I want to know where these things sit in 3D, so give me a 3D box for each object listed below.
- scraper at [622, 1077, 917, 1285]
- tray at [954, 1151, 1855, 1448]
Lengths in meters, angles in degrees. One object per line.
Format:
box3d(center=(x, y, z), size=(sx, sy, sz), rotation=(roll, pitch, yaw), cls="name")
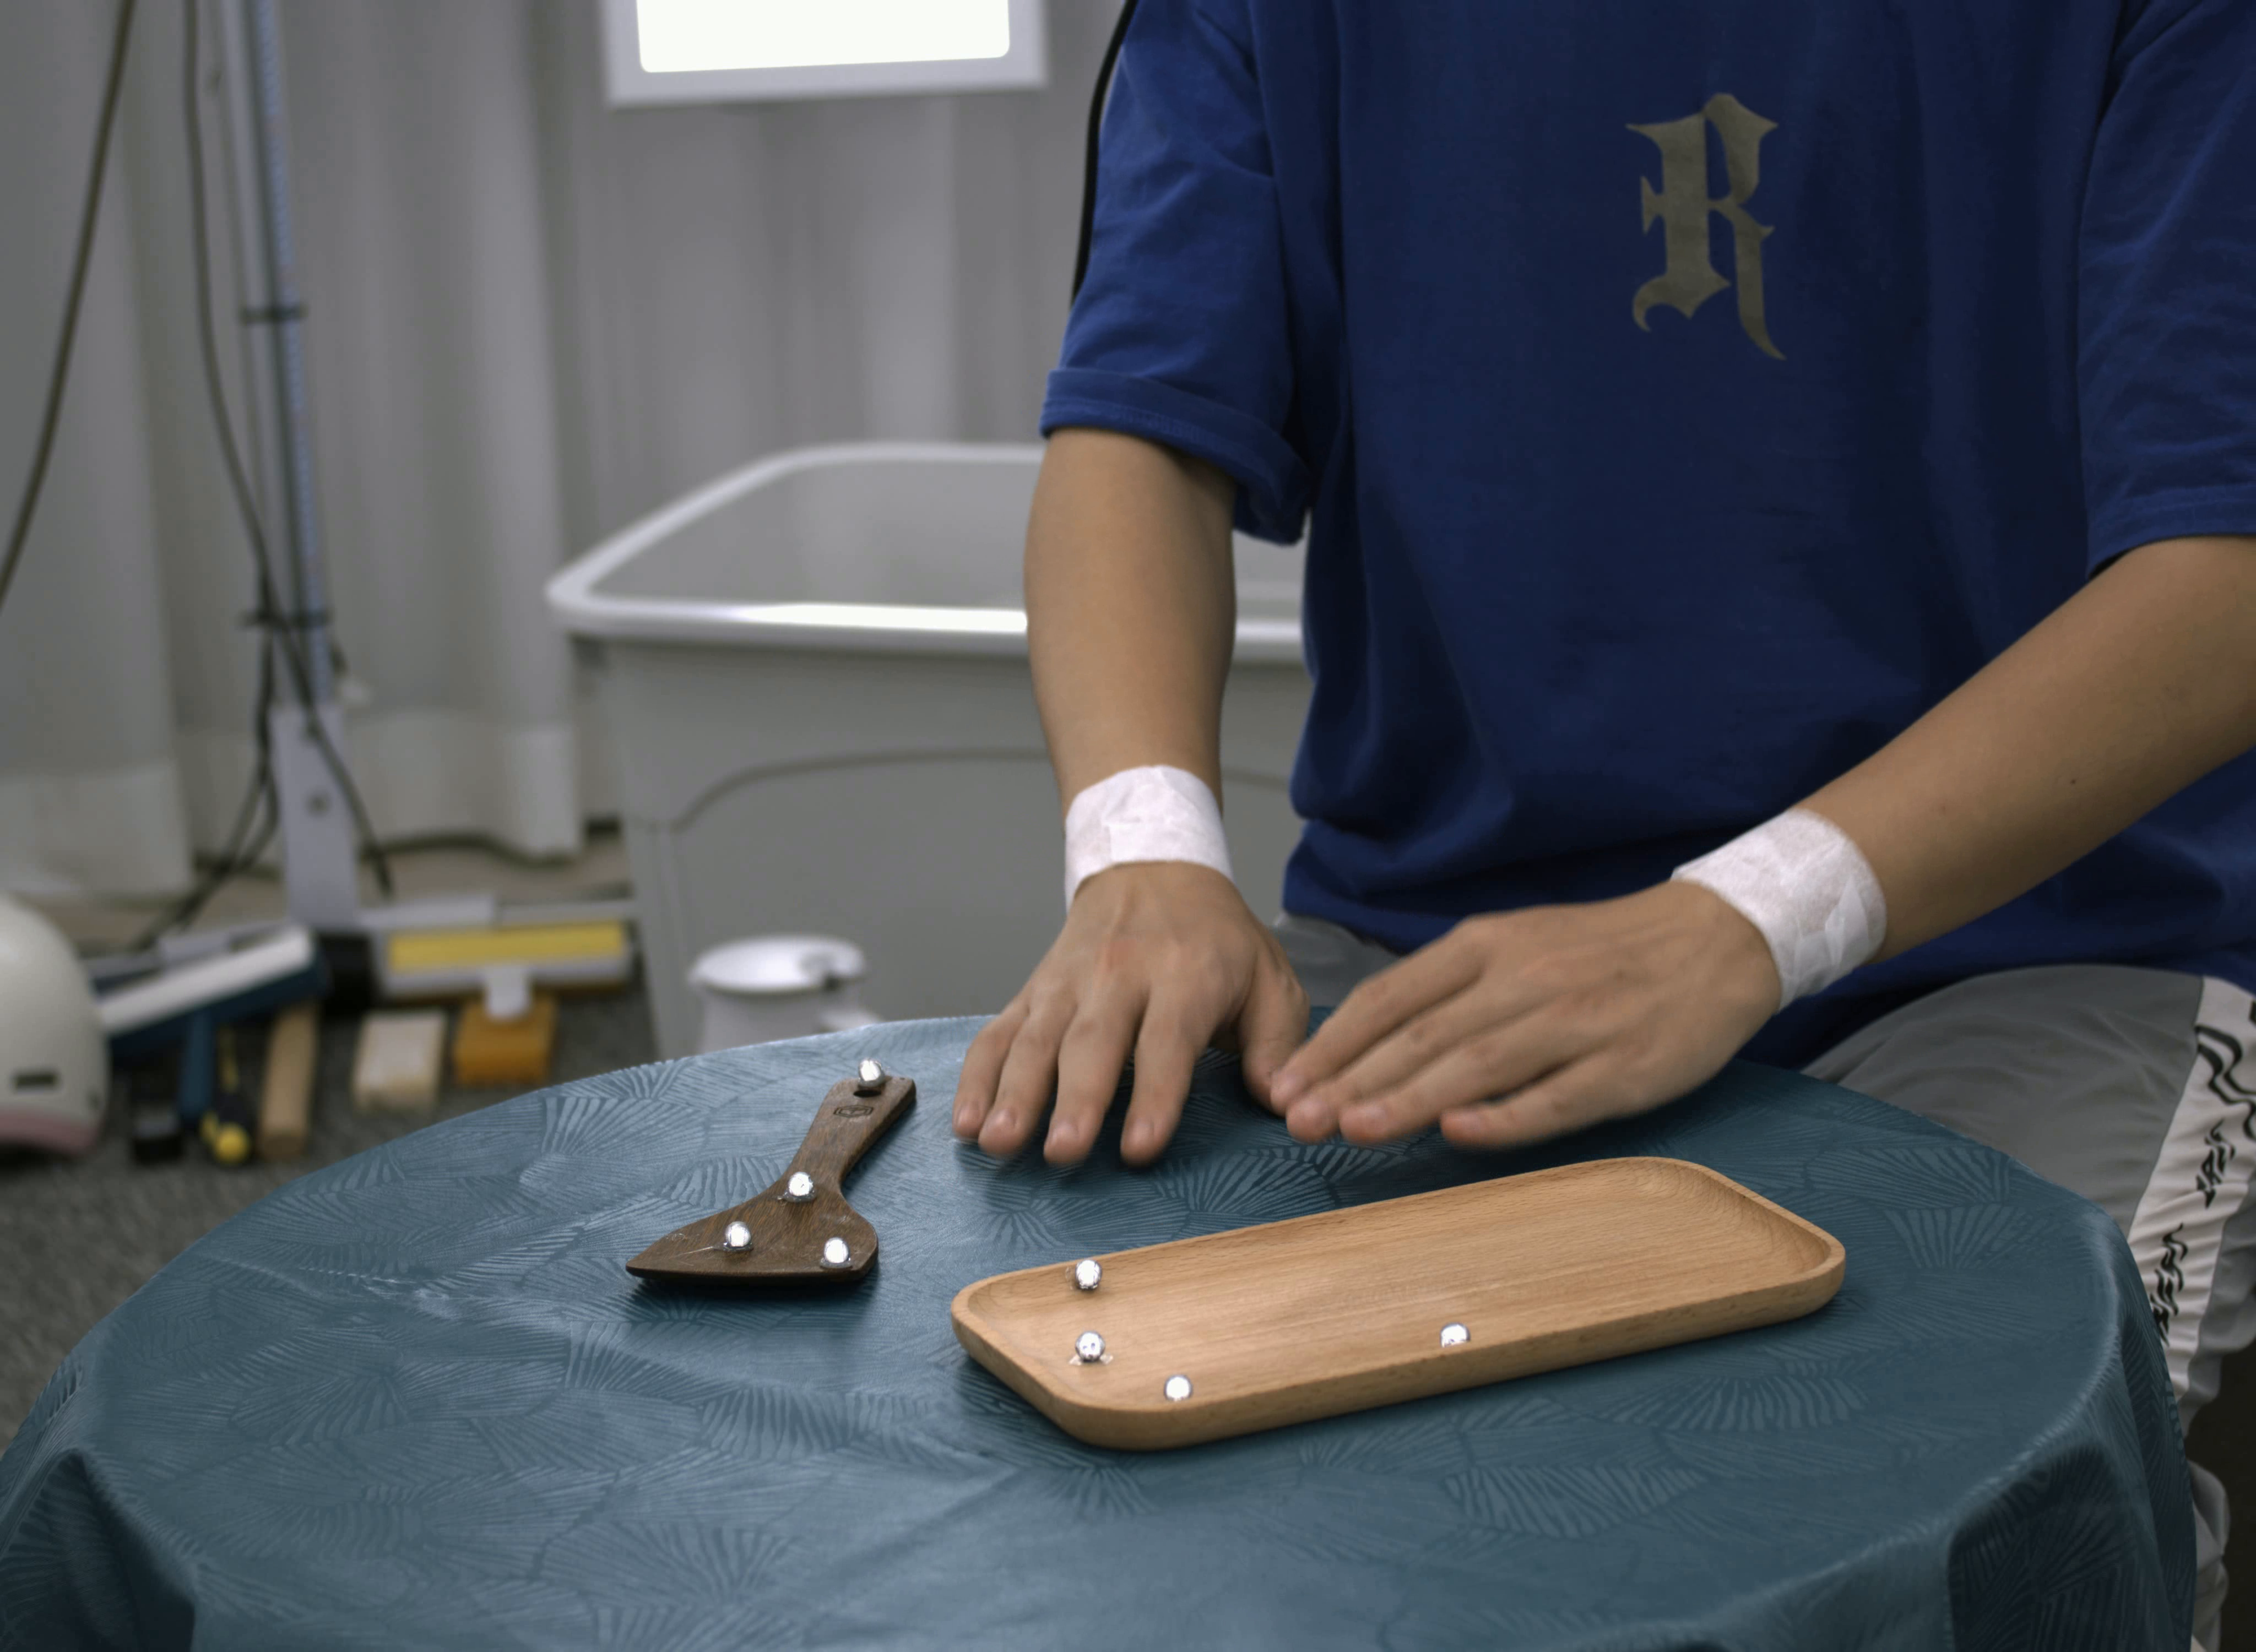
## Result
box3d(center=(-0.100, 0.112, 1.725), size=(0.076, 0.011, 0.212), rotation=(0, 14, 10), cls="scraper")
box3d(center=(0.080, 0.136, 1.582), size=(0.249, 0.023, 0.132), rotation=(-8, 18, -21), cls="tray")
